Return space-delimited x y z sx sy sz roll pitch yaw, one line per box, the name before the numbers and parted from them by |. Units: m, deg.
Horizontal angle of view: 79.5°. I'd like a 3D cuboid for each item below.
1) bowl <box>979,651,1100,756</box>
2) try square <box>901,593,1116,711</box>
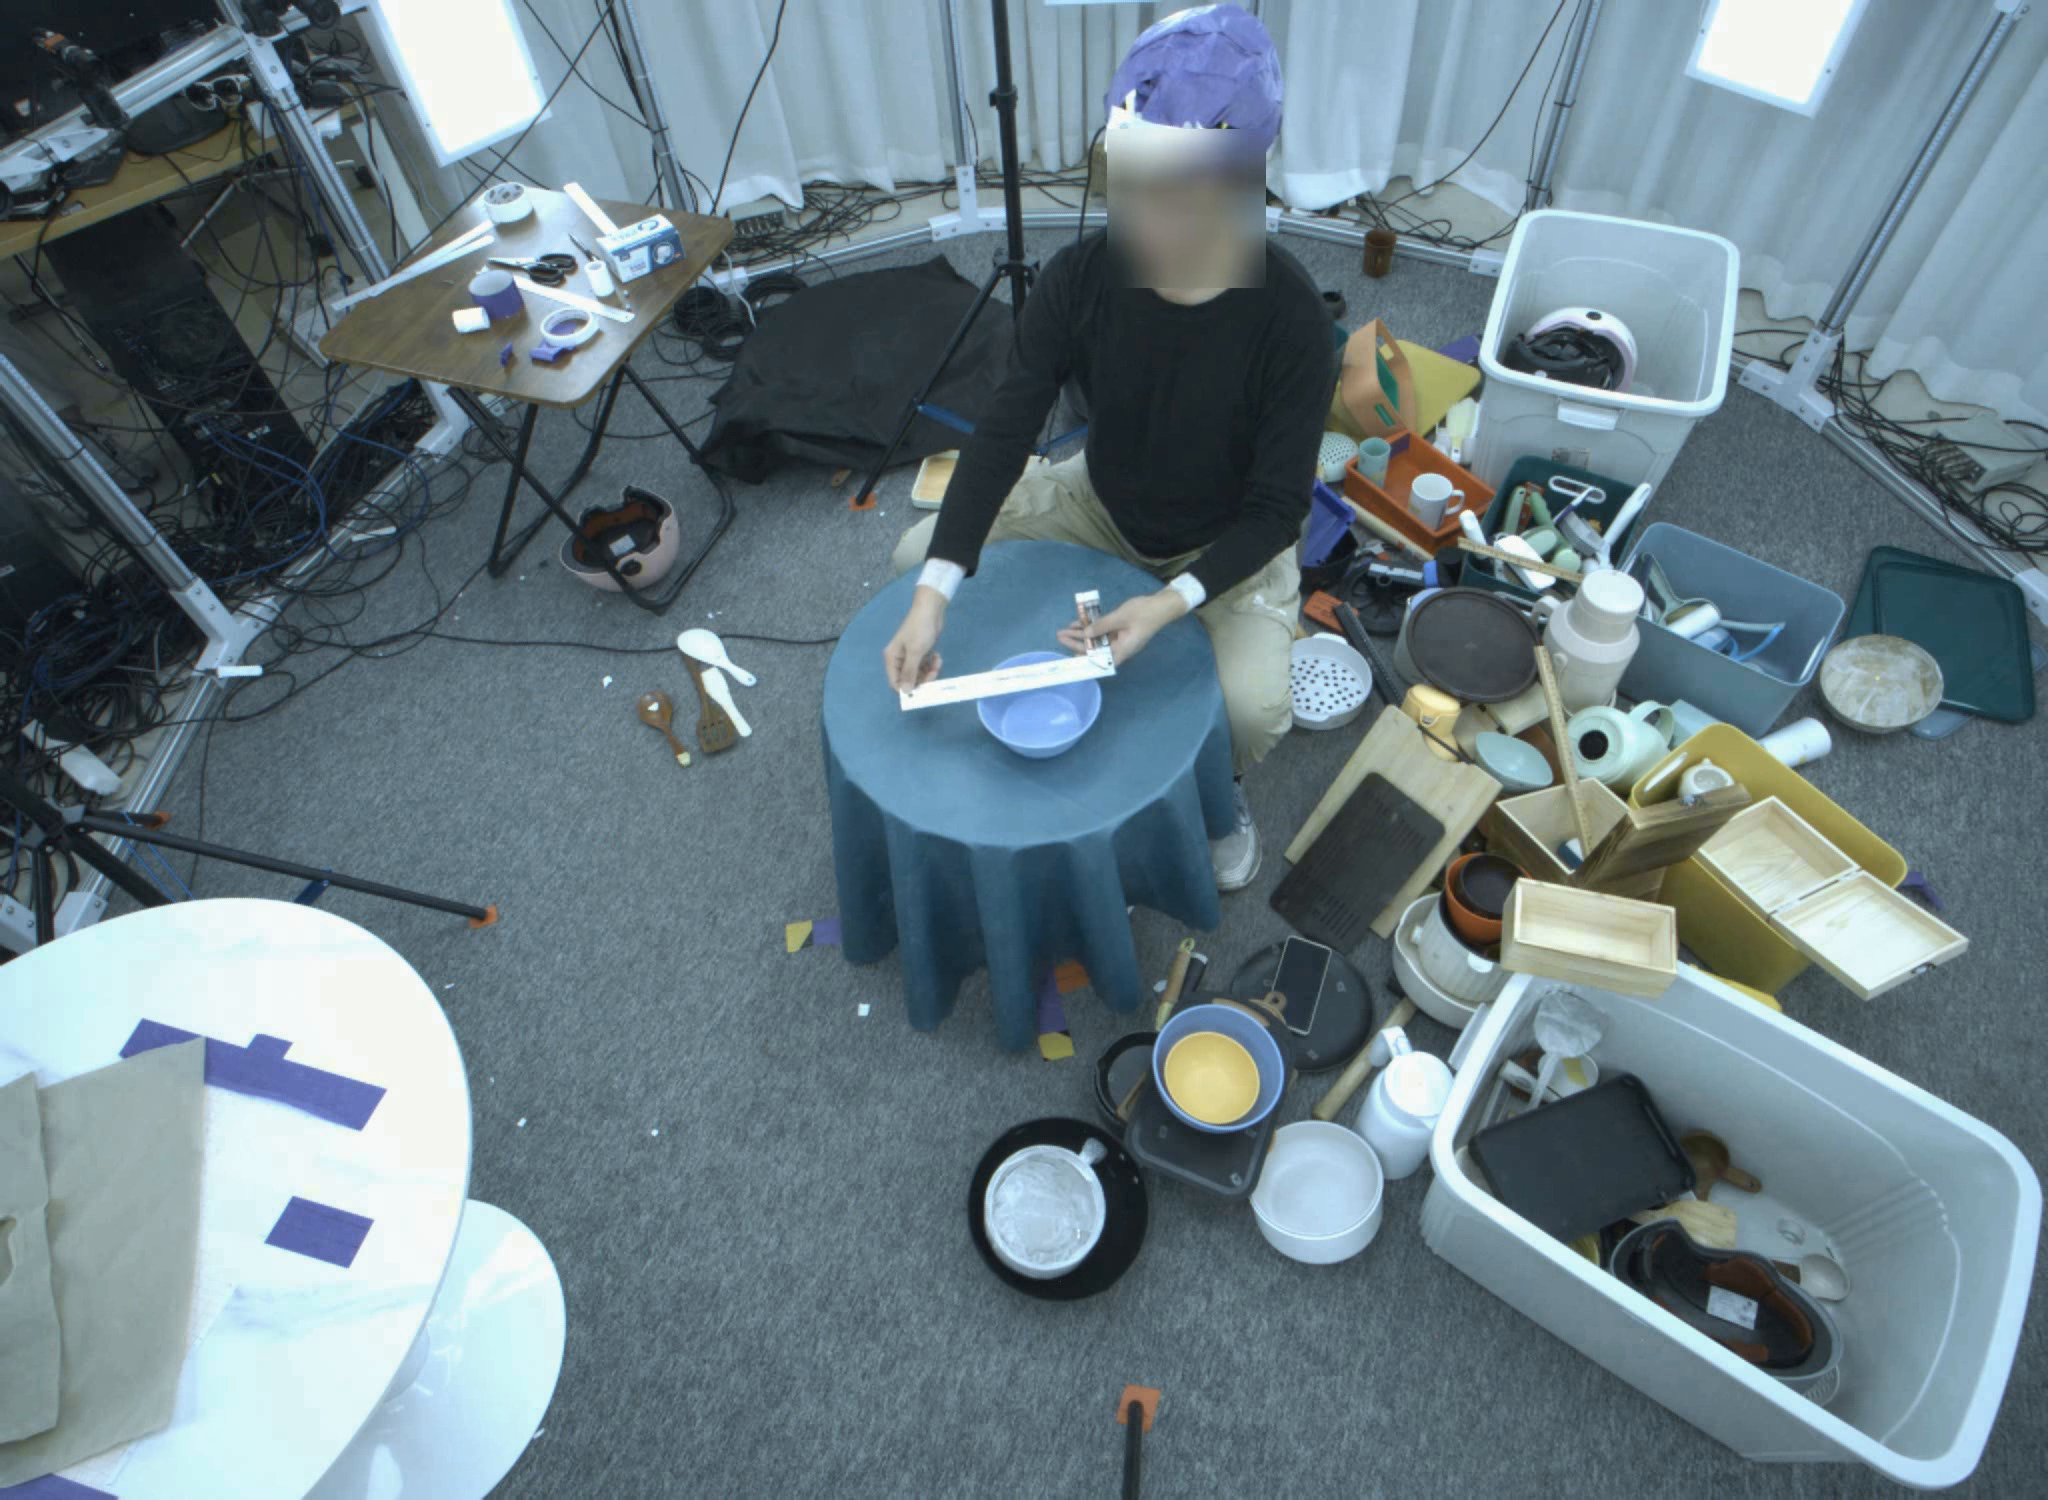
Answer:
bowl | 0.024 -0.057 1.784 0.176 0.071 0.174 -1 55 2
try square | -0.029 -0.144 1.793 0.313 0.016 0.150 -9 57 -2
